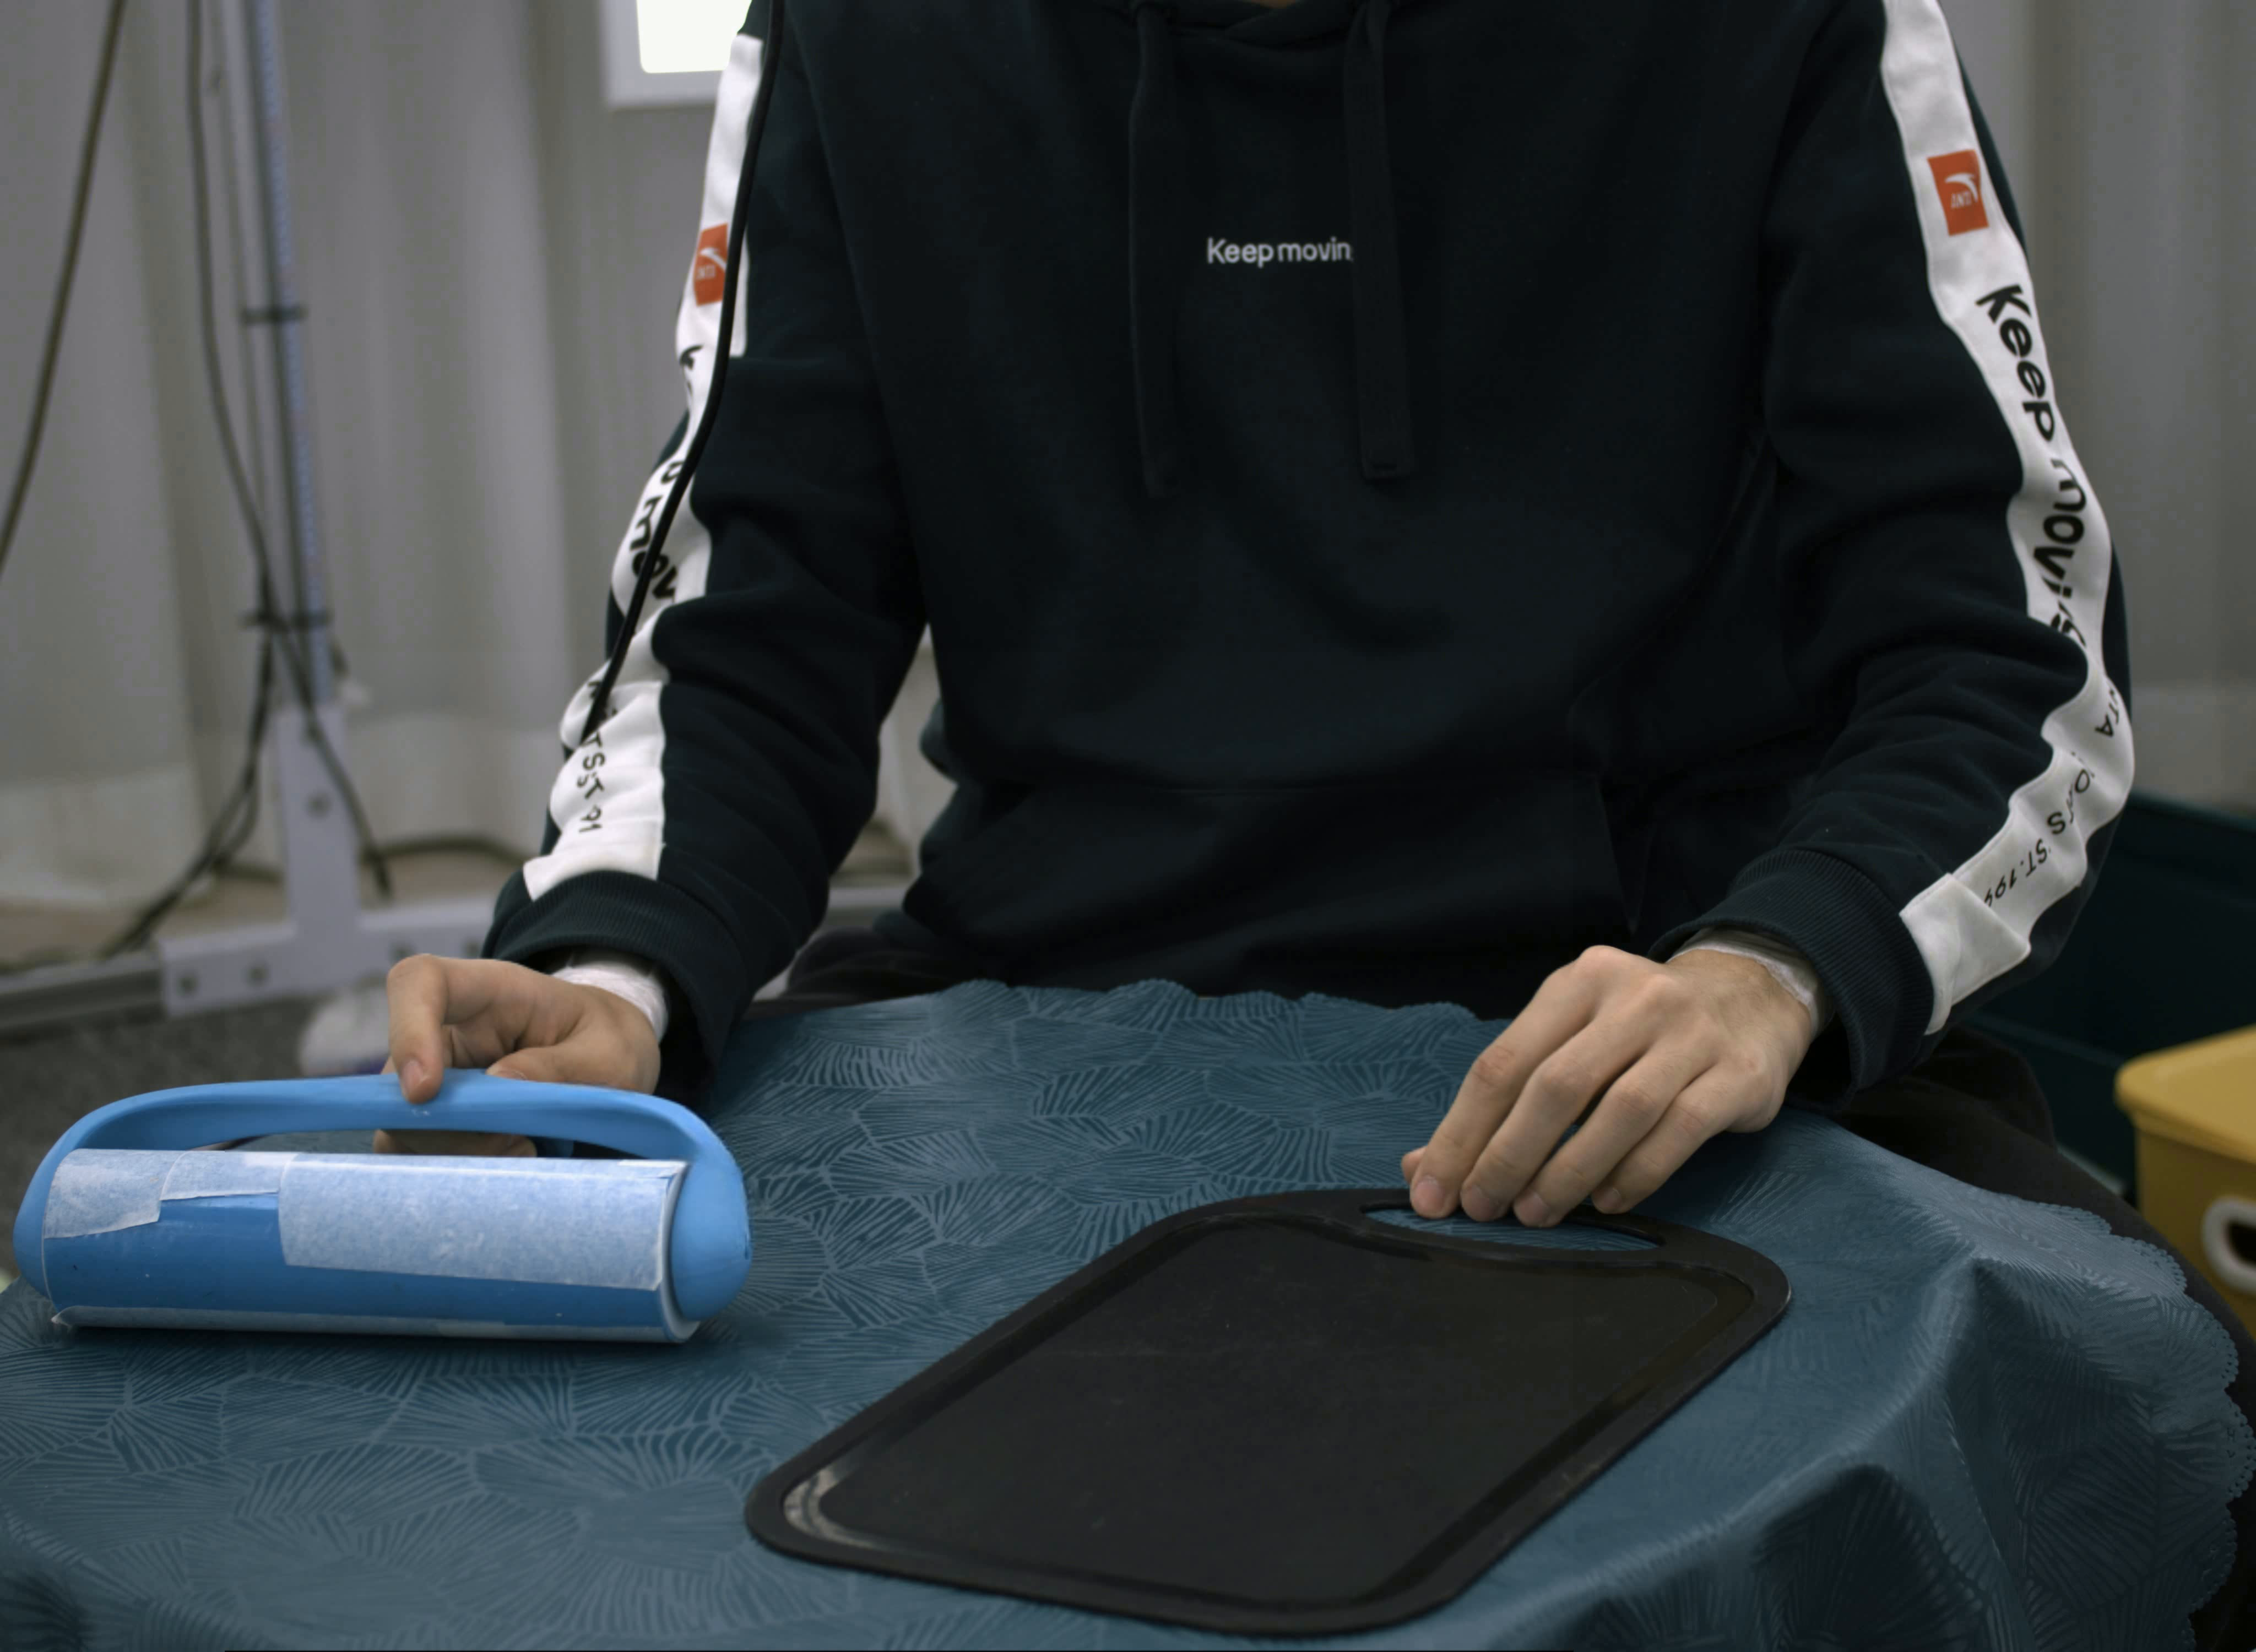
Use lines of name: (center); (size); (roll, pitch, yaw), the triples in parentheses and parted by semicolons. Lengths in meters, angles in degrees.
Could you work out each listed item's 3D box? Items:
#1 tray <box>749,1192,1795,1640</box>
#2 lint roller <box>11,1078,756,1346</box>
tray: (0.049, 0.156, 1.538); (0.211, 0.010, 0.326); (5, 17, 29)
lint roller: (-0.212, 0.108, 1.675); (0.228, 0.067, 0.181); (-2, 16, 11)
